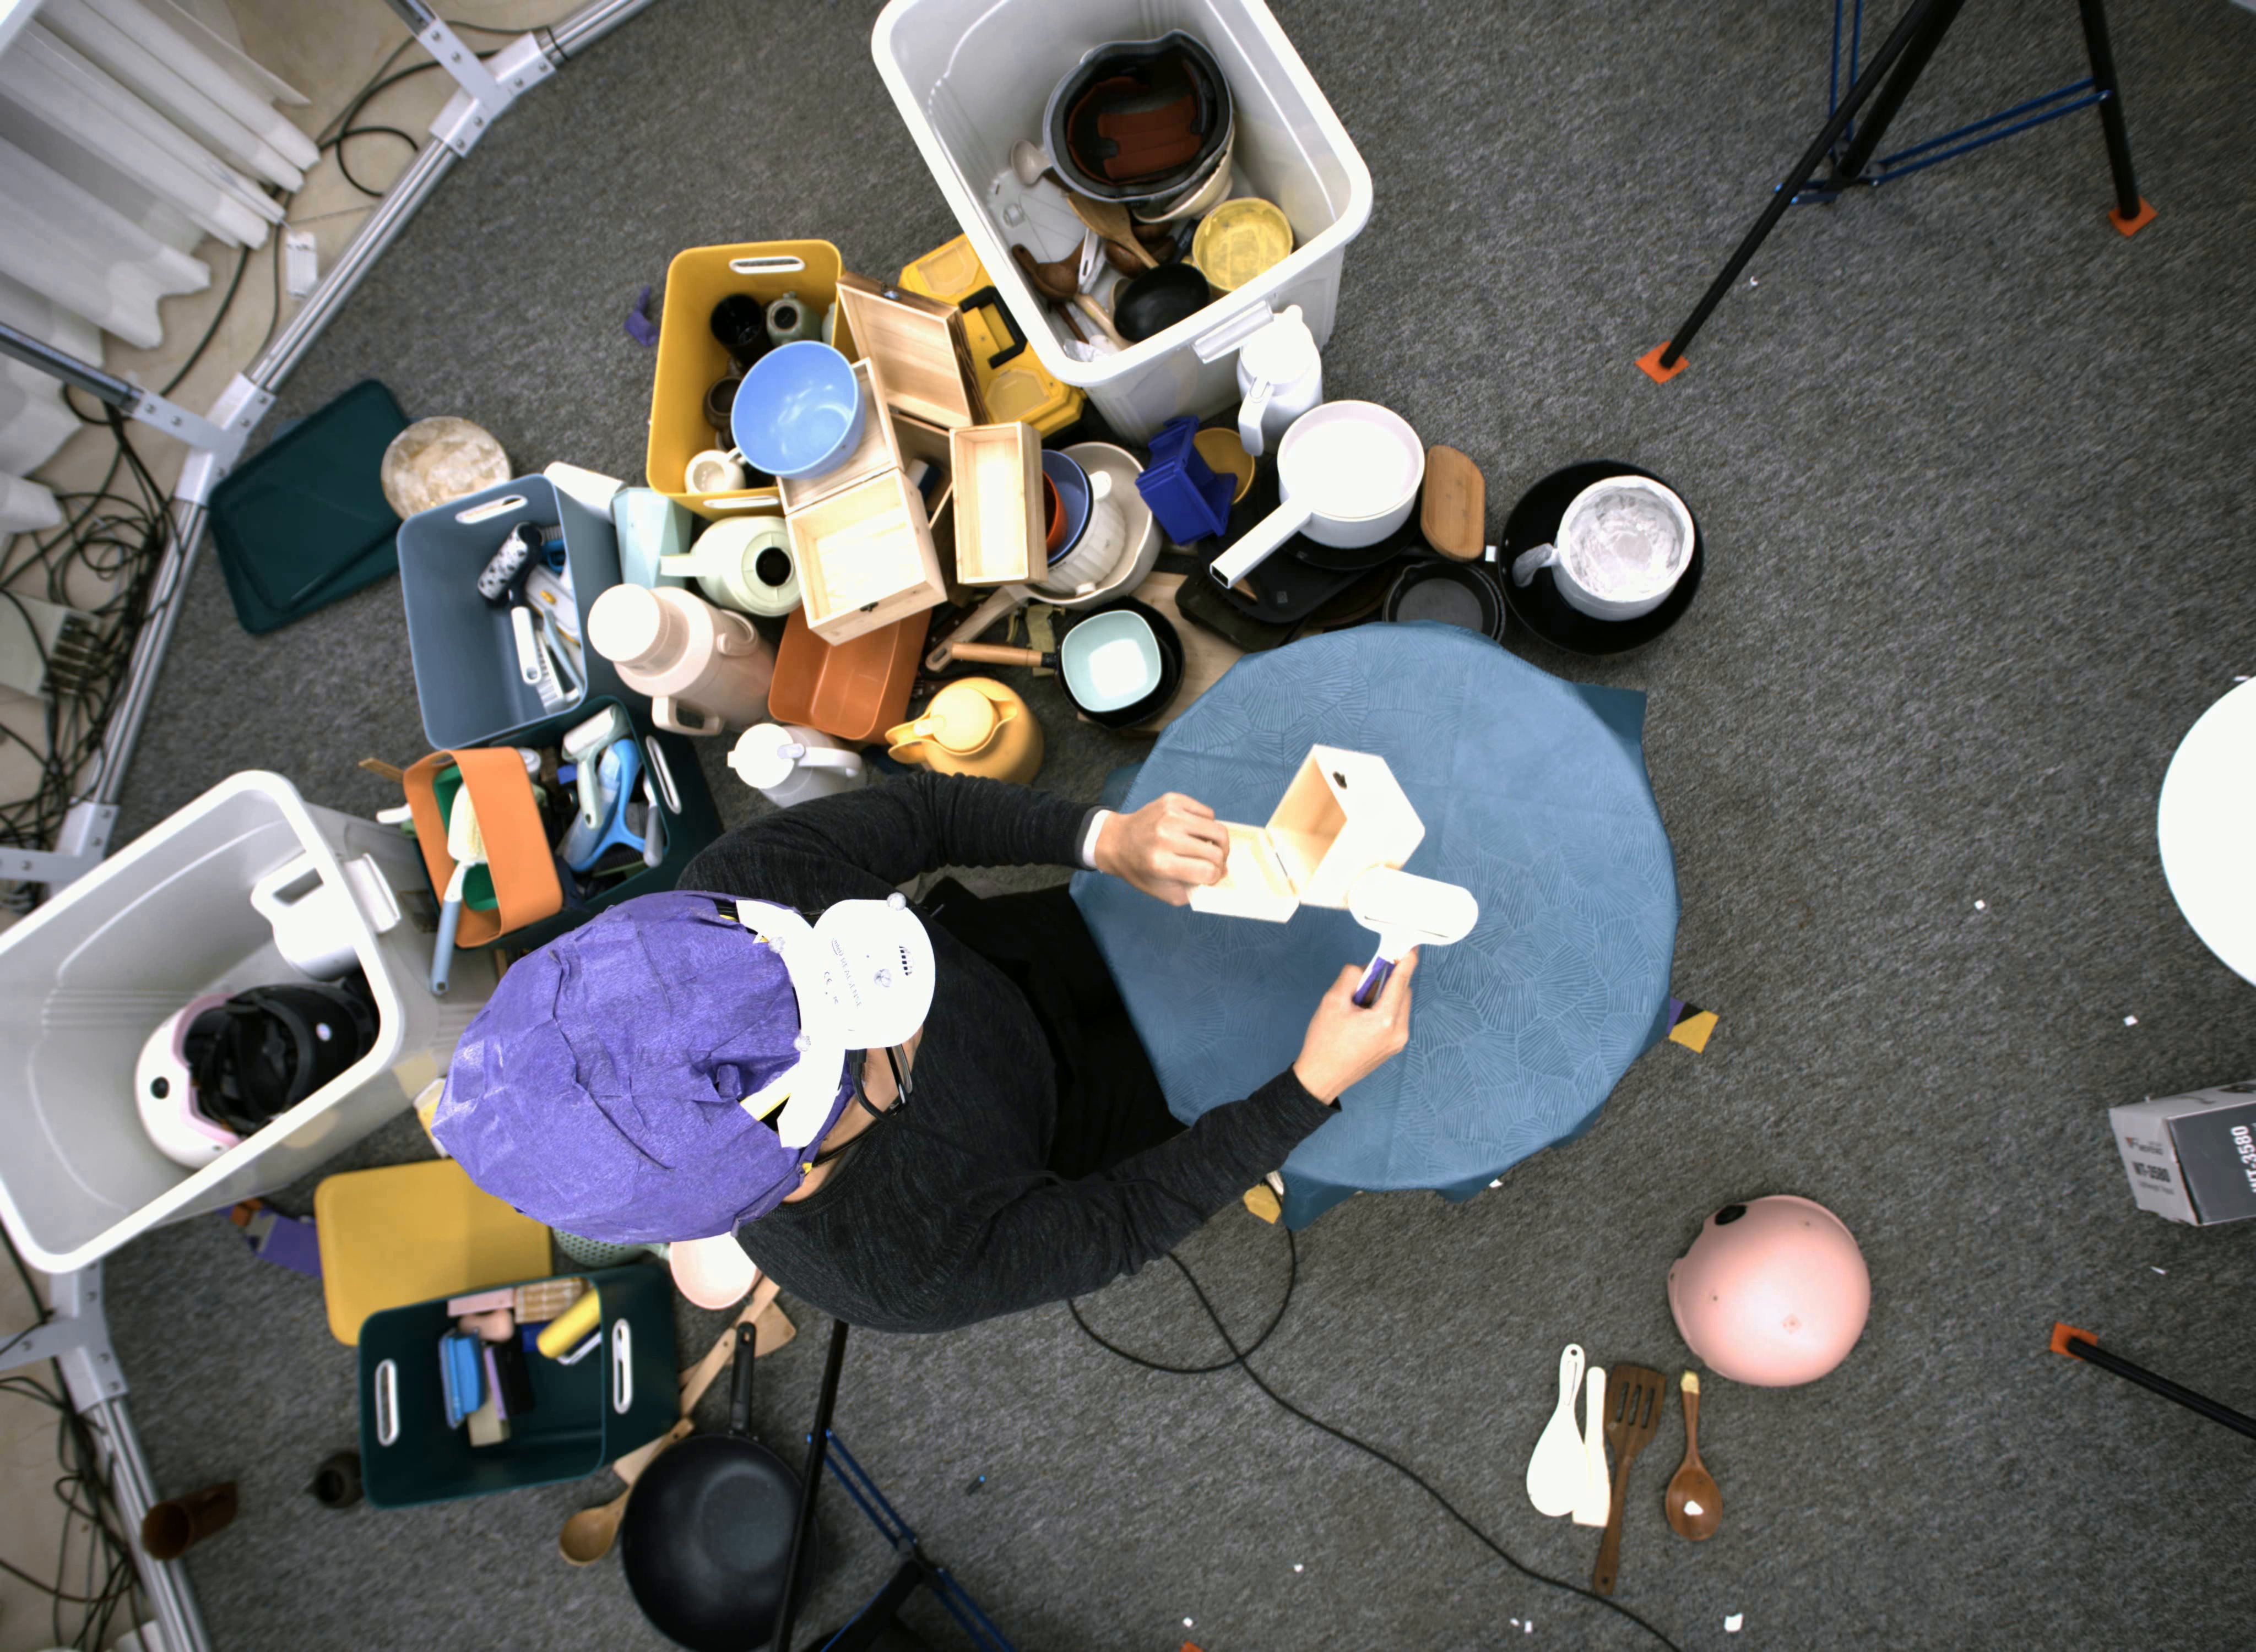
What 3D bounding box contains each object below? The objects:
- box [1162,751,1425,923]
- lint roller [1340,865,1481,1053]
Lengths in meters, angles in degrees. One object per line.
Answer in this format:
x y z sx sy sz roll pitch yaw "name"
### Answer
0.145 0.006 1.236 0.137 0.184 0.100 -61 32 36 "box"
0.237 0.127 1.241 0.133 0.050 0.182 15 101 -29 "lint roller"
